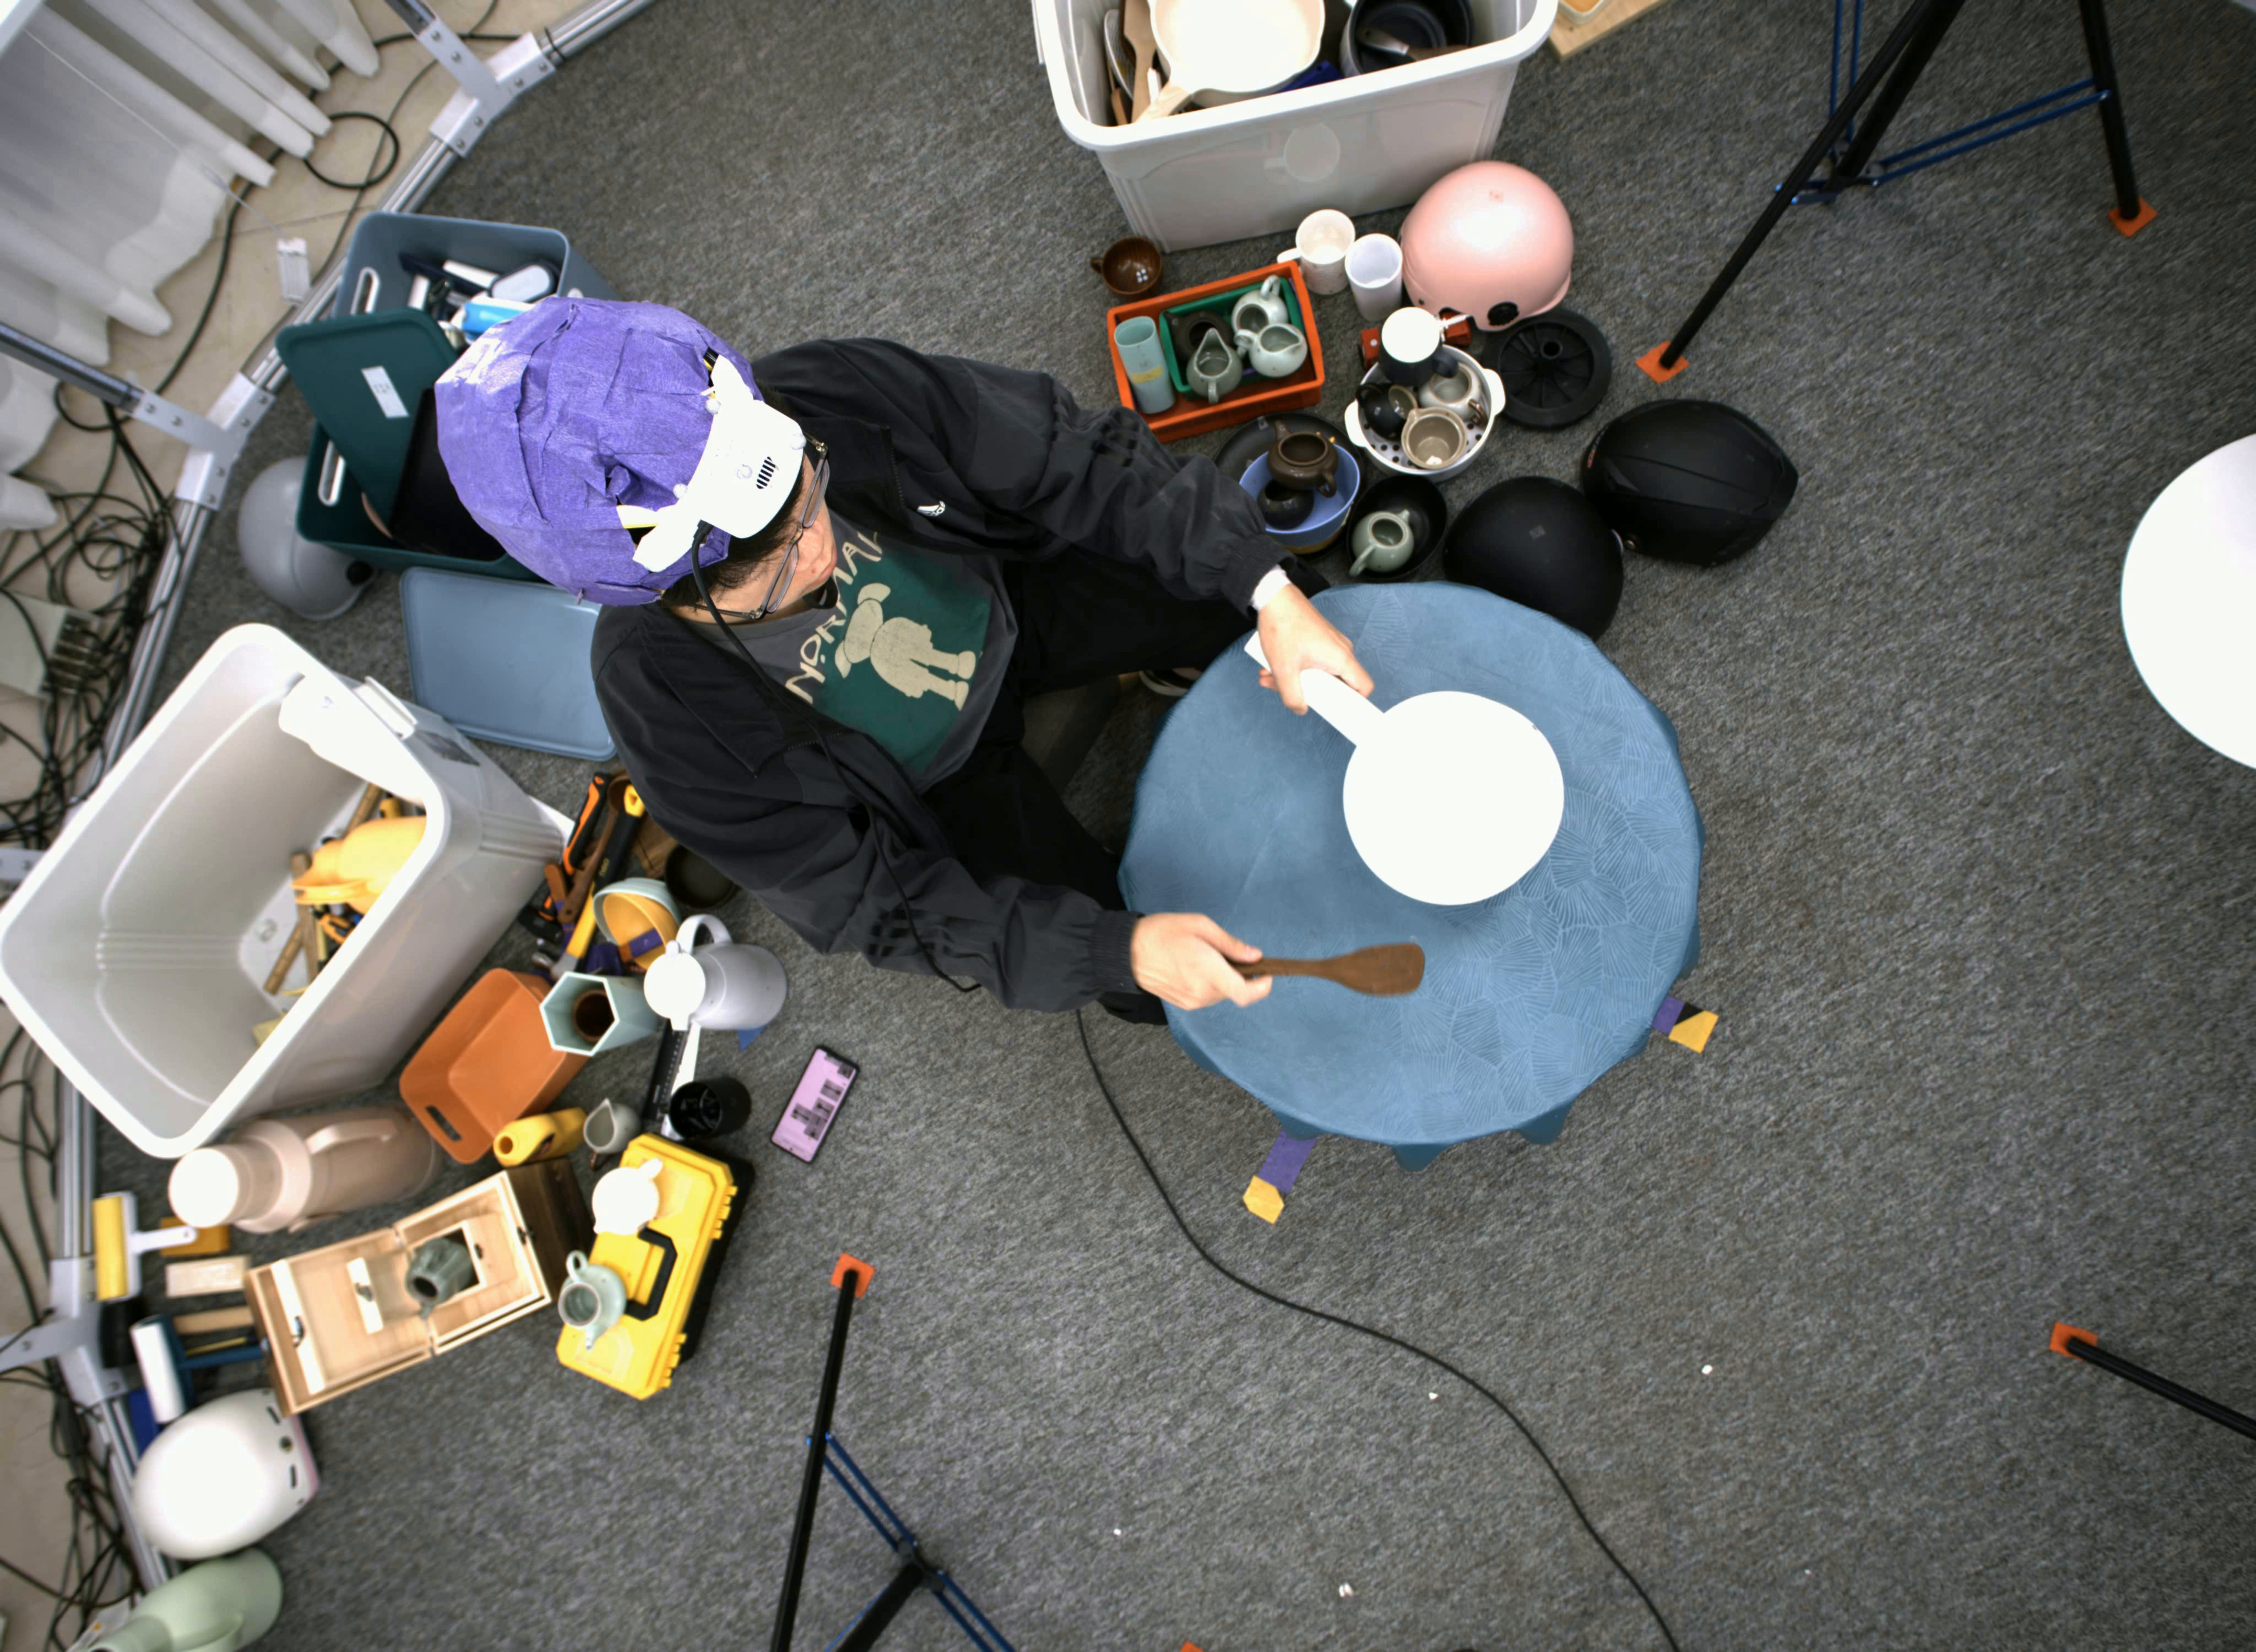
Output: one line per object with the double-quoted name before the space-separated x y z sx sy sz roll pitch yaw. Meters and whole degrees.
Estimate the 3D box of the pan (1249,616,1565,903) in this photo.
"pan" 0.270 -0.081 1.361 0.352 0.101 0.205 44 114 17

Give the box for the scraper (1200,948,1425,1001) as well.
"scraper" 0.171 0.137 1.296 0.212 0.074 0.011 -1 123 19
